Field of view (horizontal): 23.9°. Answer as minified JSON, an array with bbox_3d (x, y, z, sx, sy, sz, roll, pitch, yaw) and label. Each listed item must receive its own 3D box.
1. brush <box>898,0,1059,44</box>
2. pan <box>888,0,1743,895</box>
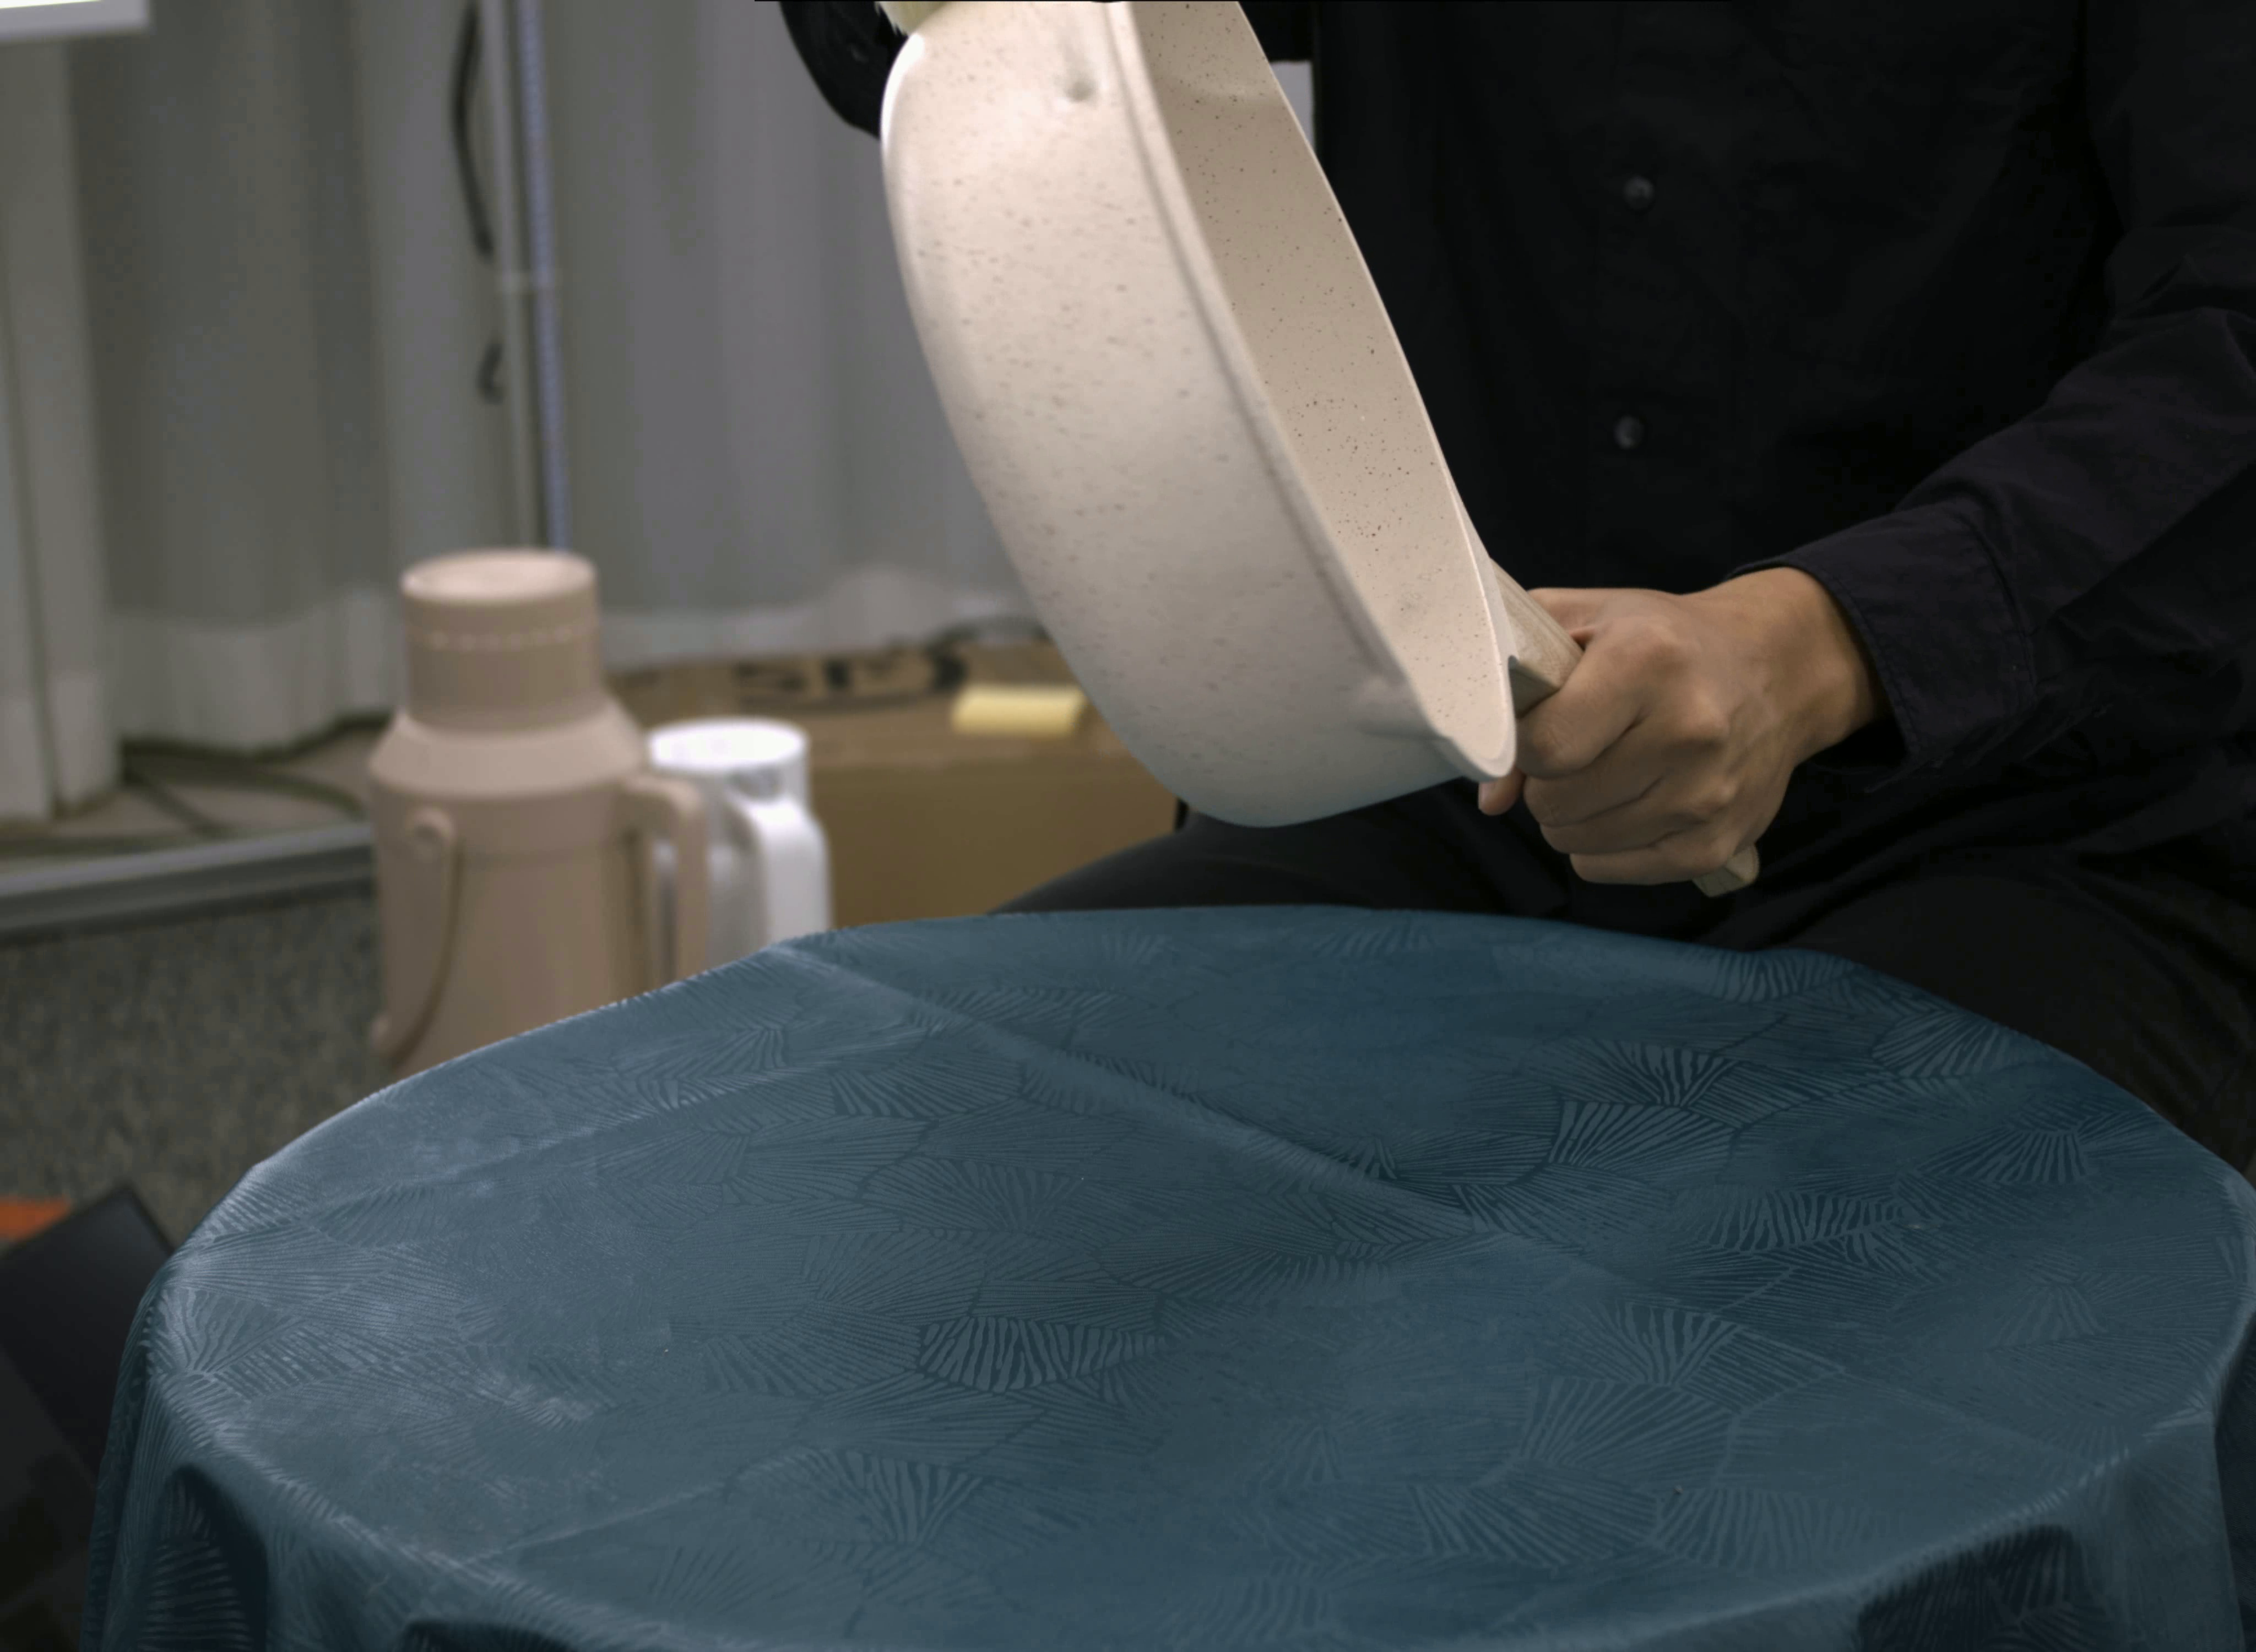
[{"bbox_3d":[-0.023,-0.250,1.498,0.083,0.085,0.322,11,2,9],"label":"brush"},{"bbox_3d":[0.058,-0.070,1.455,0.102,0.426,0.267,-24,53,12],"label":"pan"}]
